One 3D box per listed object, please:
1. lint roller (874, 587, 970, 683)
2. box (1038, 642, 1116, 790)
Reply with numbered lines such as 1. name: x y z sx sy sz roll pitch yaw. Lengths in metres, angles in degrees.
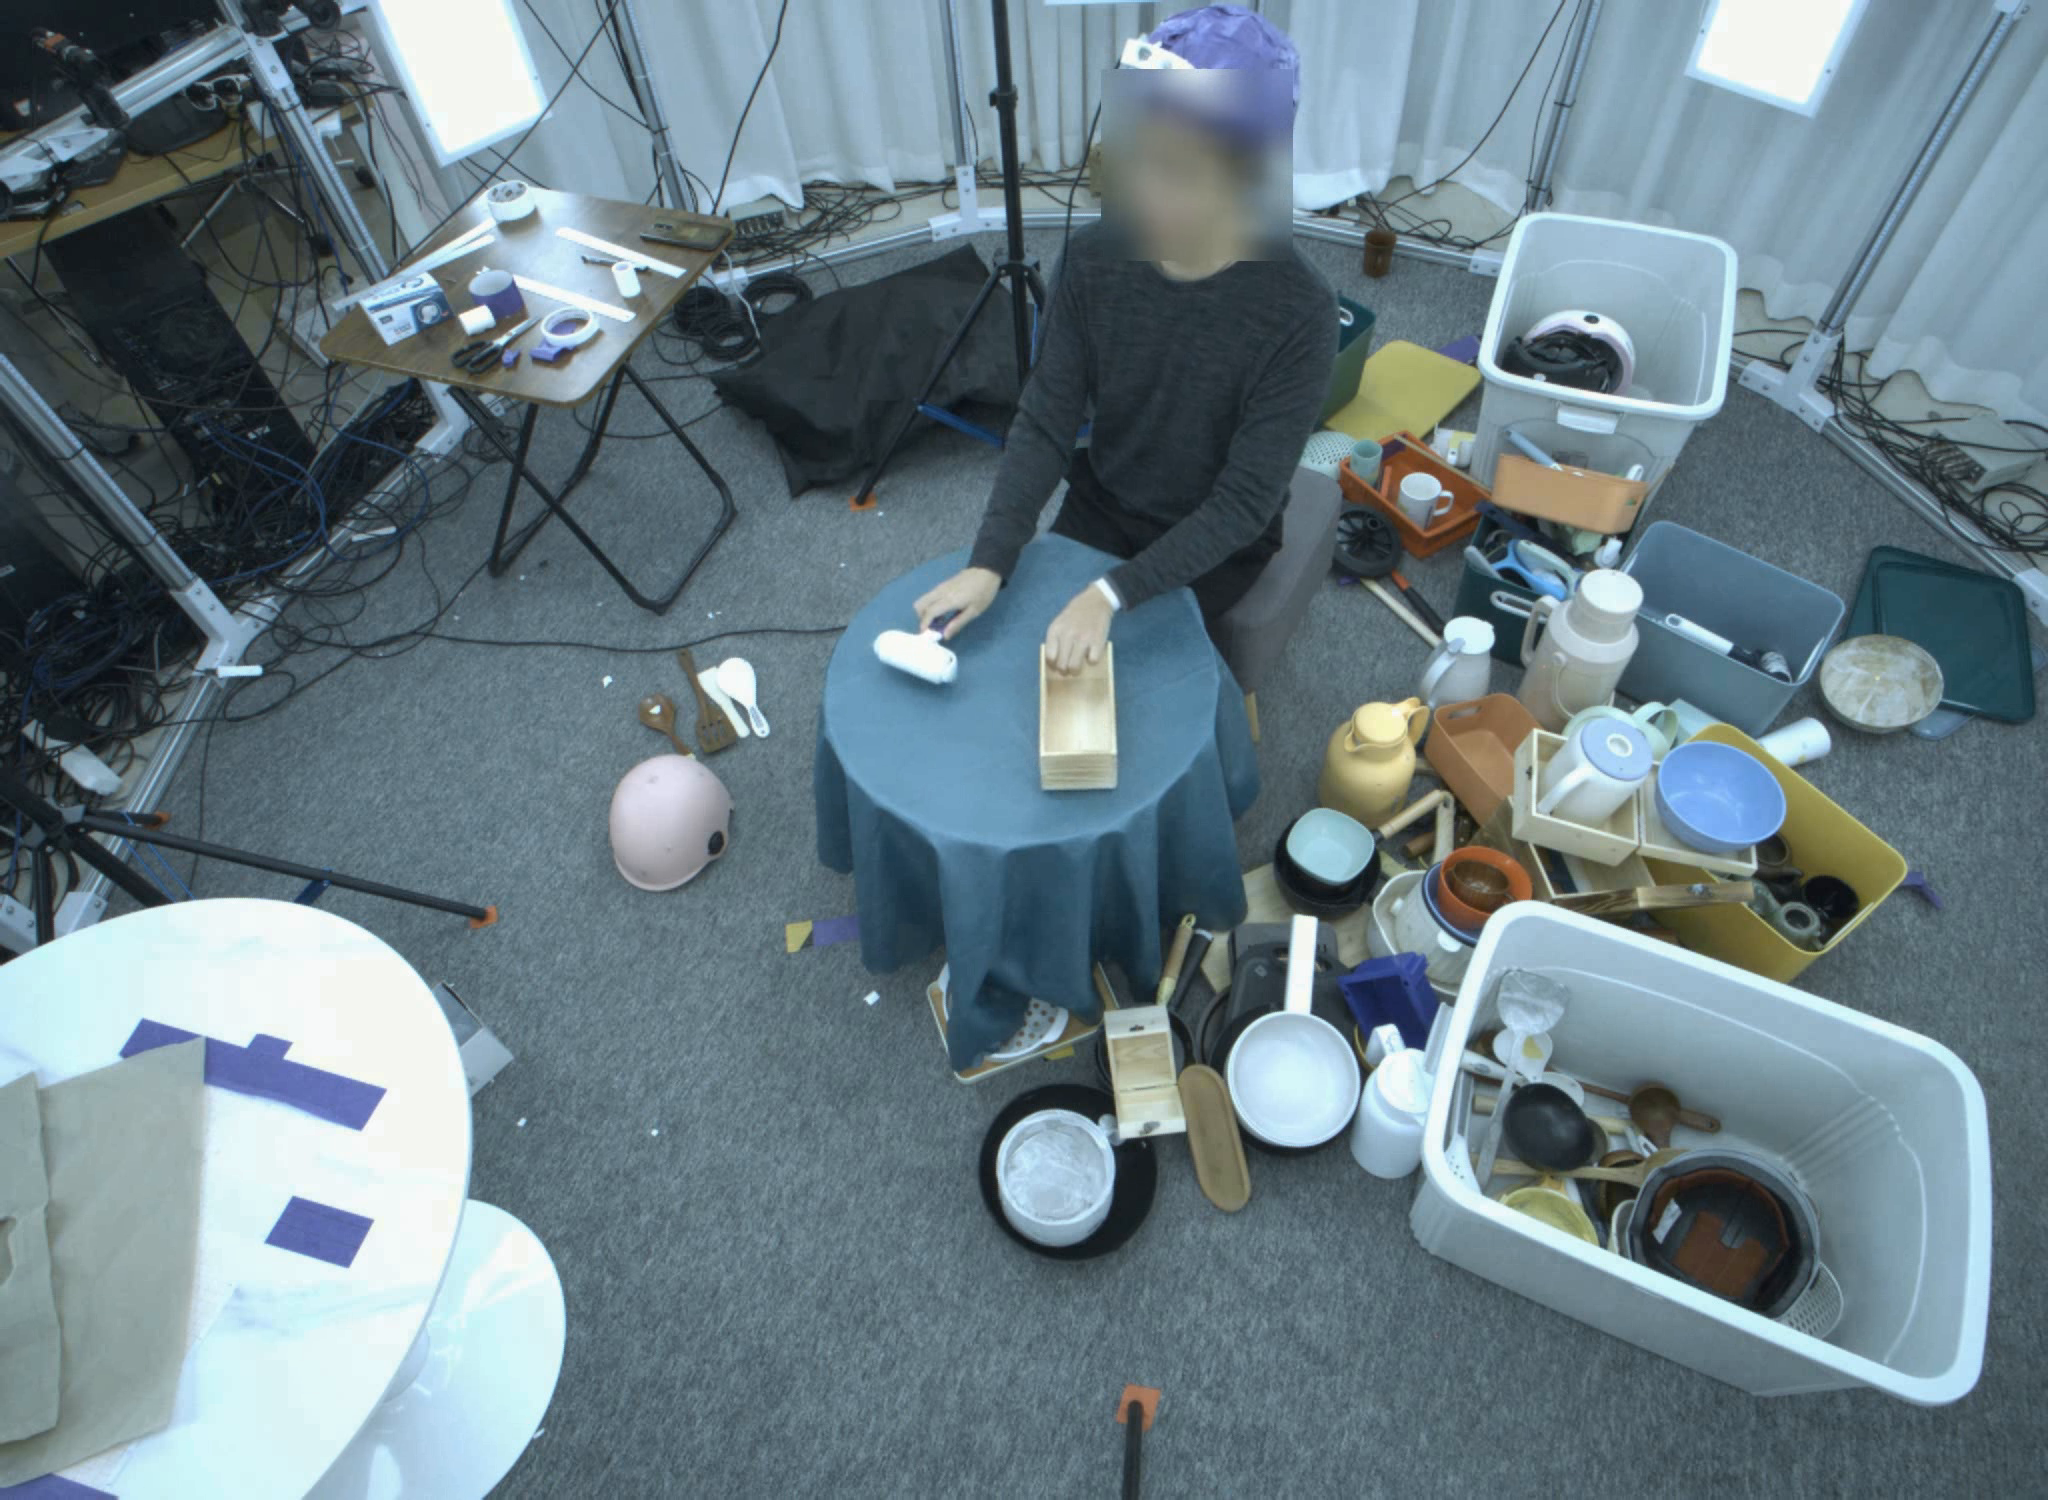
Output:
1. lint roller: -0.134 -0.190 1.867 0.131 0.051 0.181 24 66 18
2. box: 0.076 -0.051 1.768 0.107 0.081 0.209 -1 52 2
